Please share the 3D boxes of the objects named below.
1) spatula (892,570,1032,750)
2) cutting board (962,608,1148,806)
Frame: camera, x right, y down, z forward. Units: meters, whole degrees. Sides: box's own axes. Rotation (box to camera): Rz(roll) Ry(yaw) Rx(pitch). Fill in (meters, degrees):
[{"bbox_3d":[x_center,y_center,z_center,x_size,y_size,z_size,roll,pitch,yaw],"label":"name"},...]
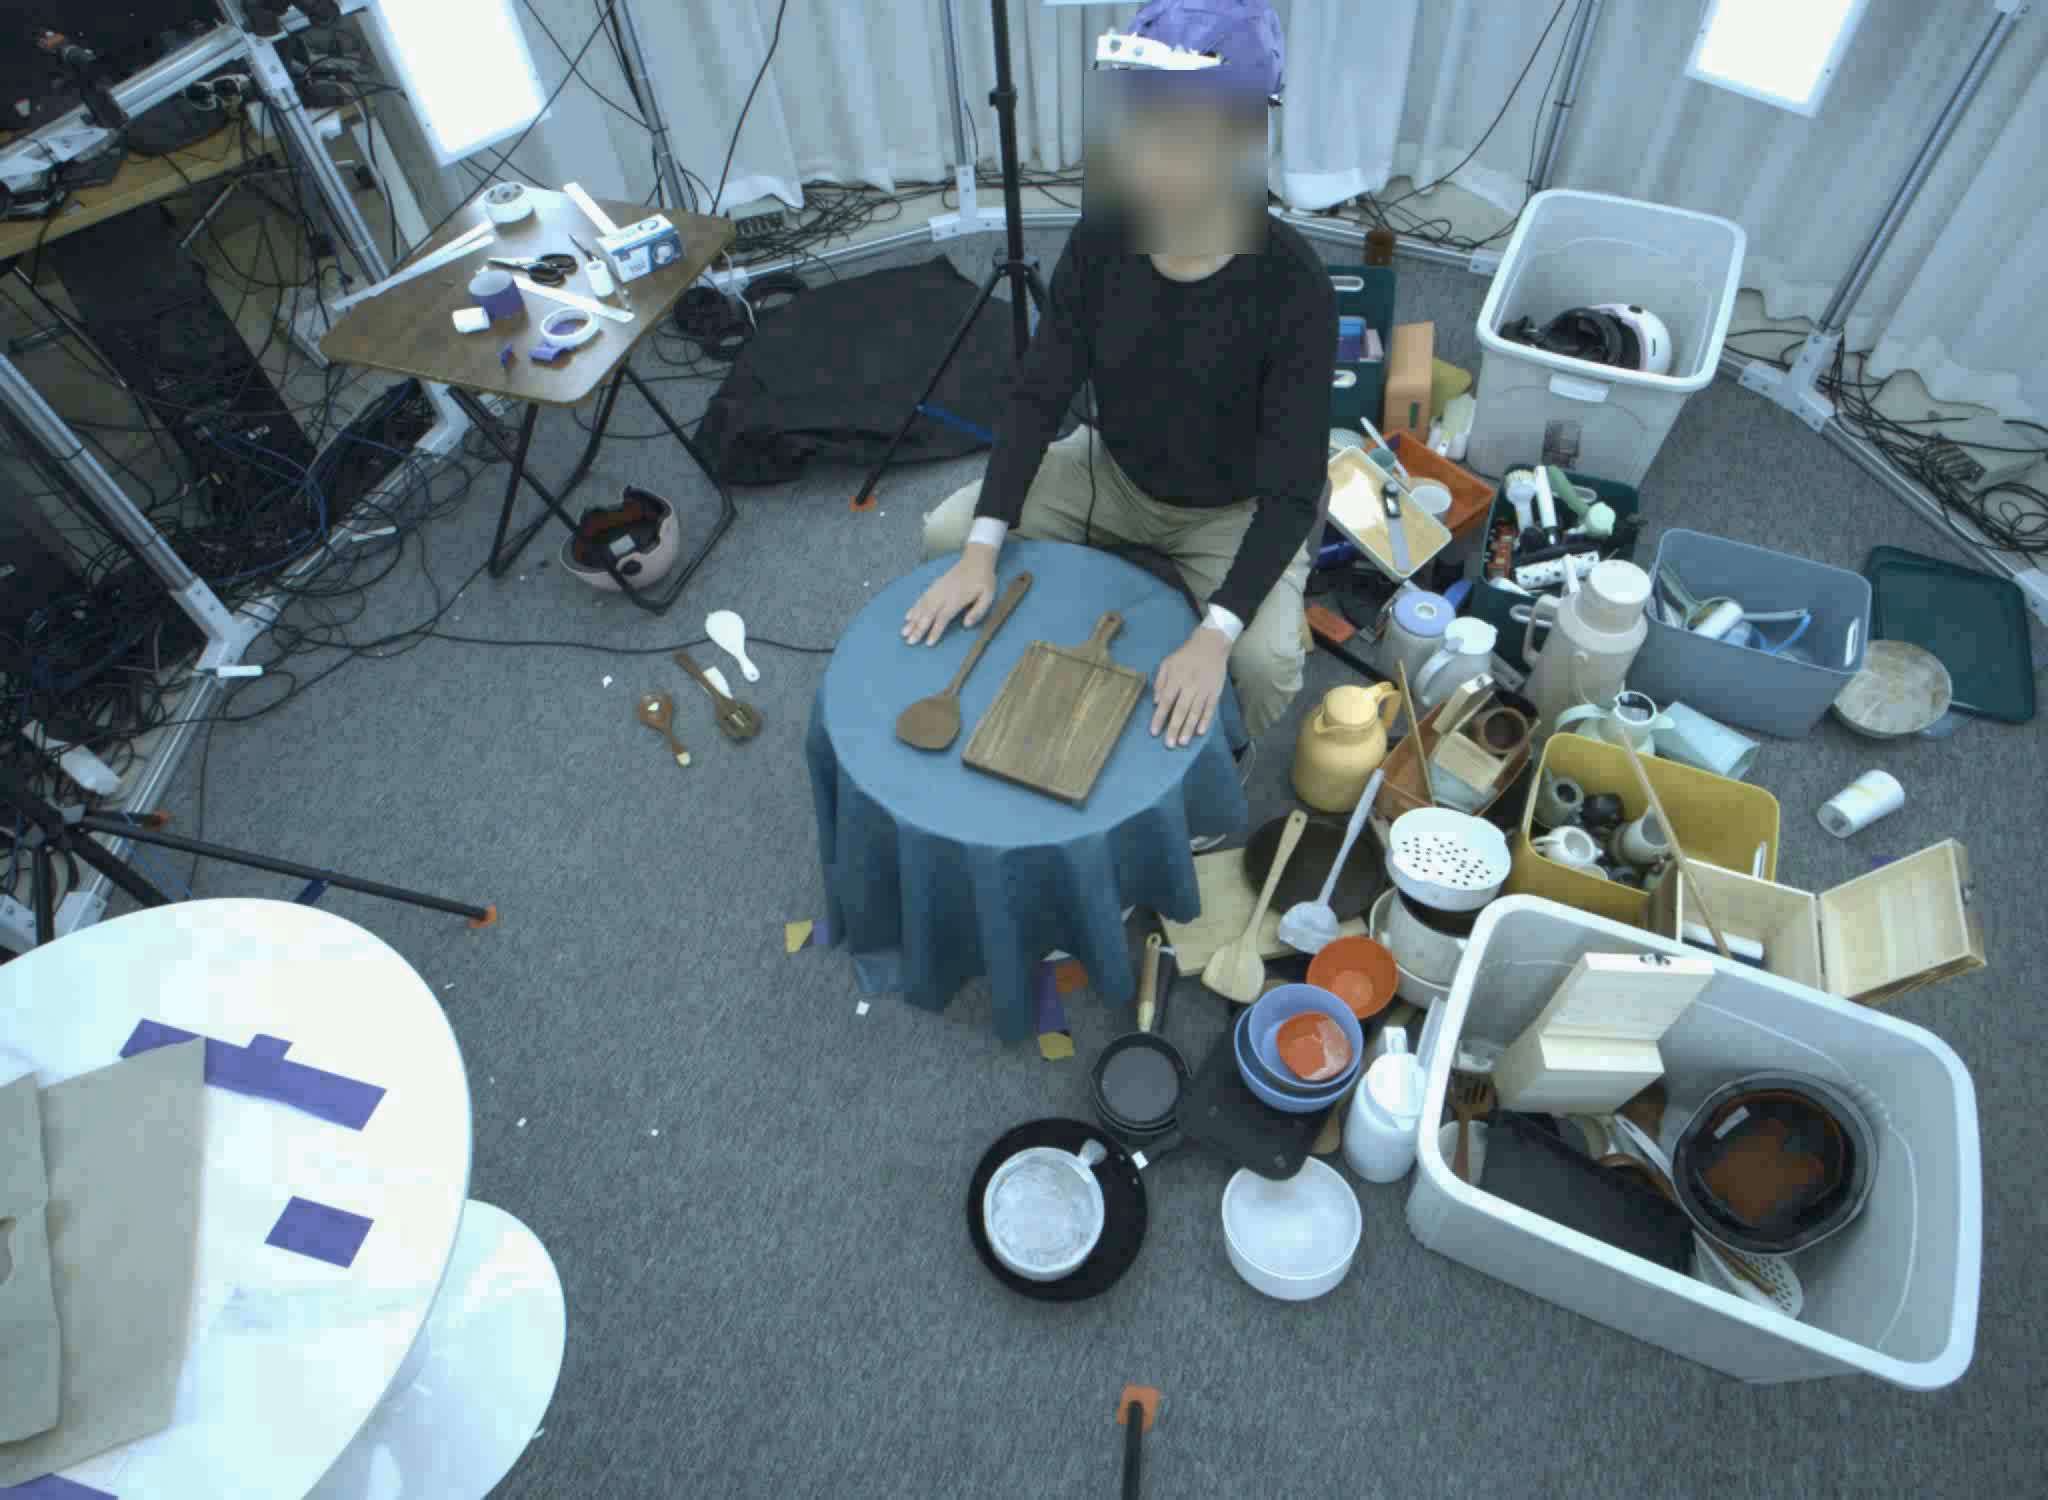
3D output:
[{"bbox_3d":[-0.078,-0.149,1.887,0.095,0.016,0.386,21,58,15],"label":"spatula"},{"bbox_3d":[0.069,-0.083,1.832,0.199,0.023,0.352,20,58,15],"label":"cutting board"}]
